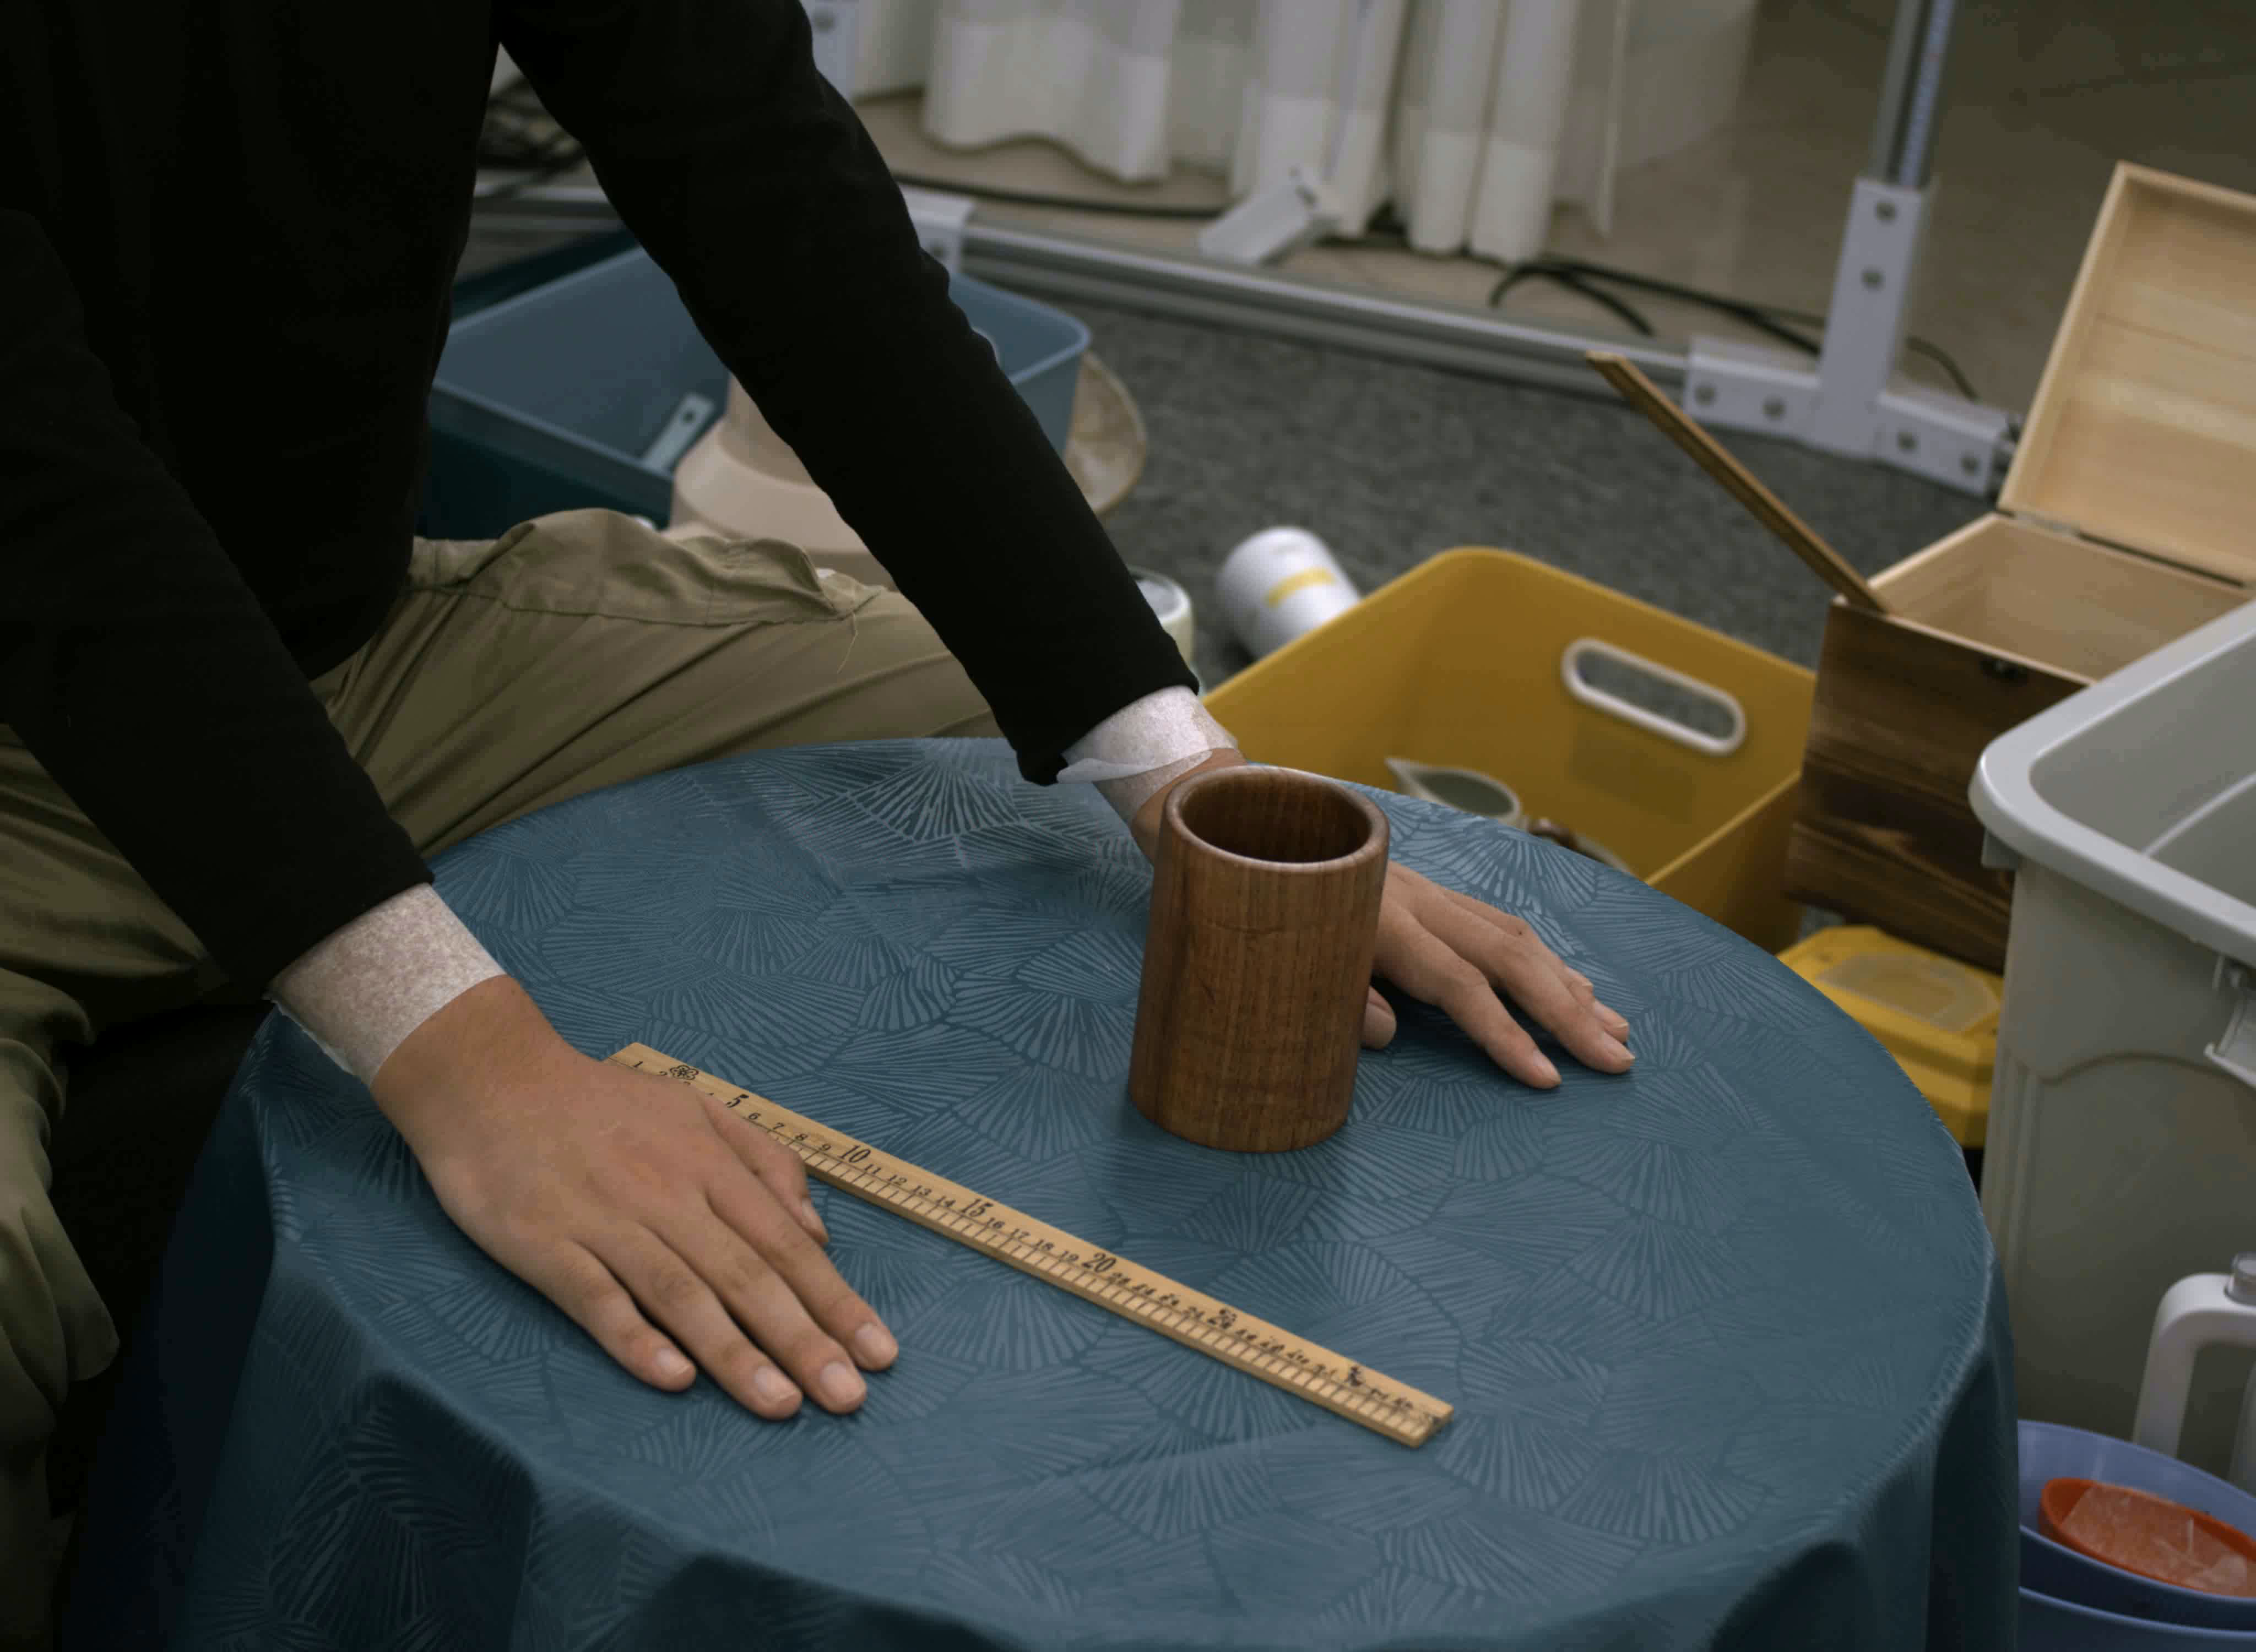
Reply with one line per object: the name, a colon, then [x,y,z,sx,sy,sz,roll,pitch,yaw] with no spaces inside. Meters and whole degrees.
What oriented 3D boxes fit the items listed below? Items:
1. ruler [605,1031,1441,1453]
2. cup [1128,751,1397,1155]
ruler: [-0.040,0.132,1.764,0.334,0.022,0.027,24,27,29]
cup: [0.046,0.044,1.840,0.087,0.118,0.088,6,26,-3]
